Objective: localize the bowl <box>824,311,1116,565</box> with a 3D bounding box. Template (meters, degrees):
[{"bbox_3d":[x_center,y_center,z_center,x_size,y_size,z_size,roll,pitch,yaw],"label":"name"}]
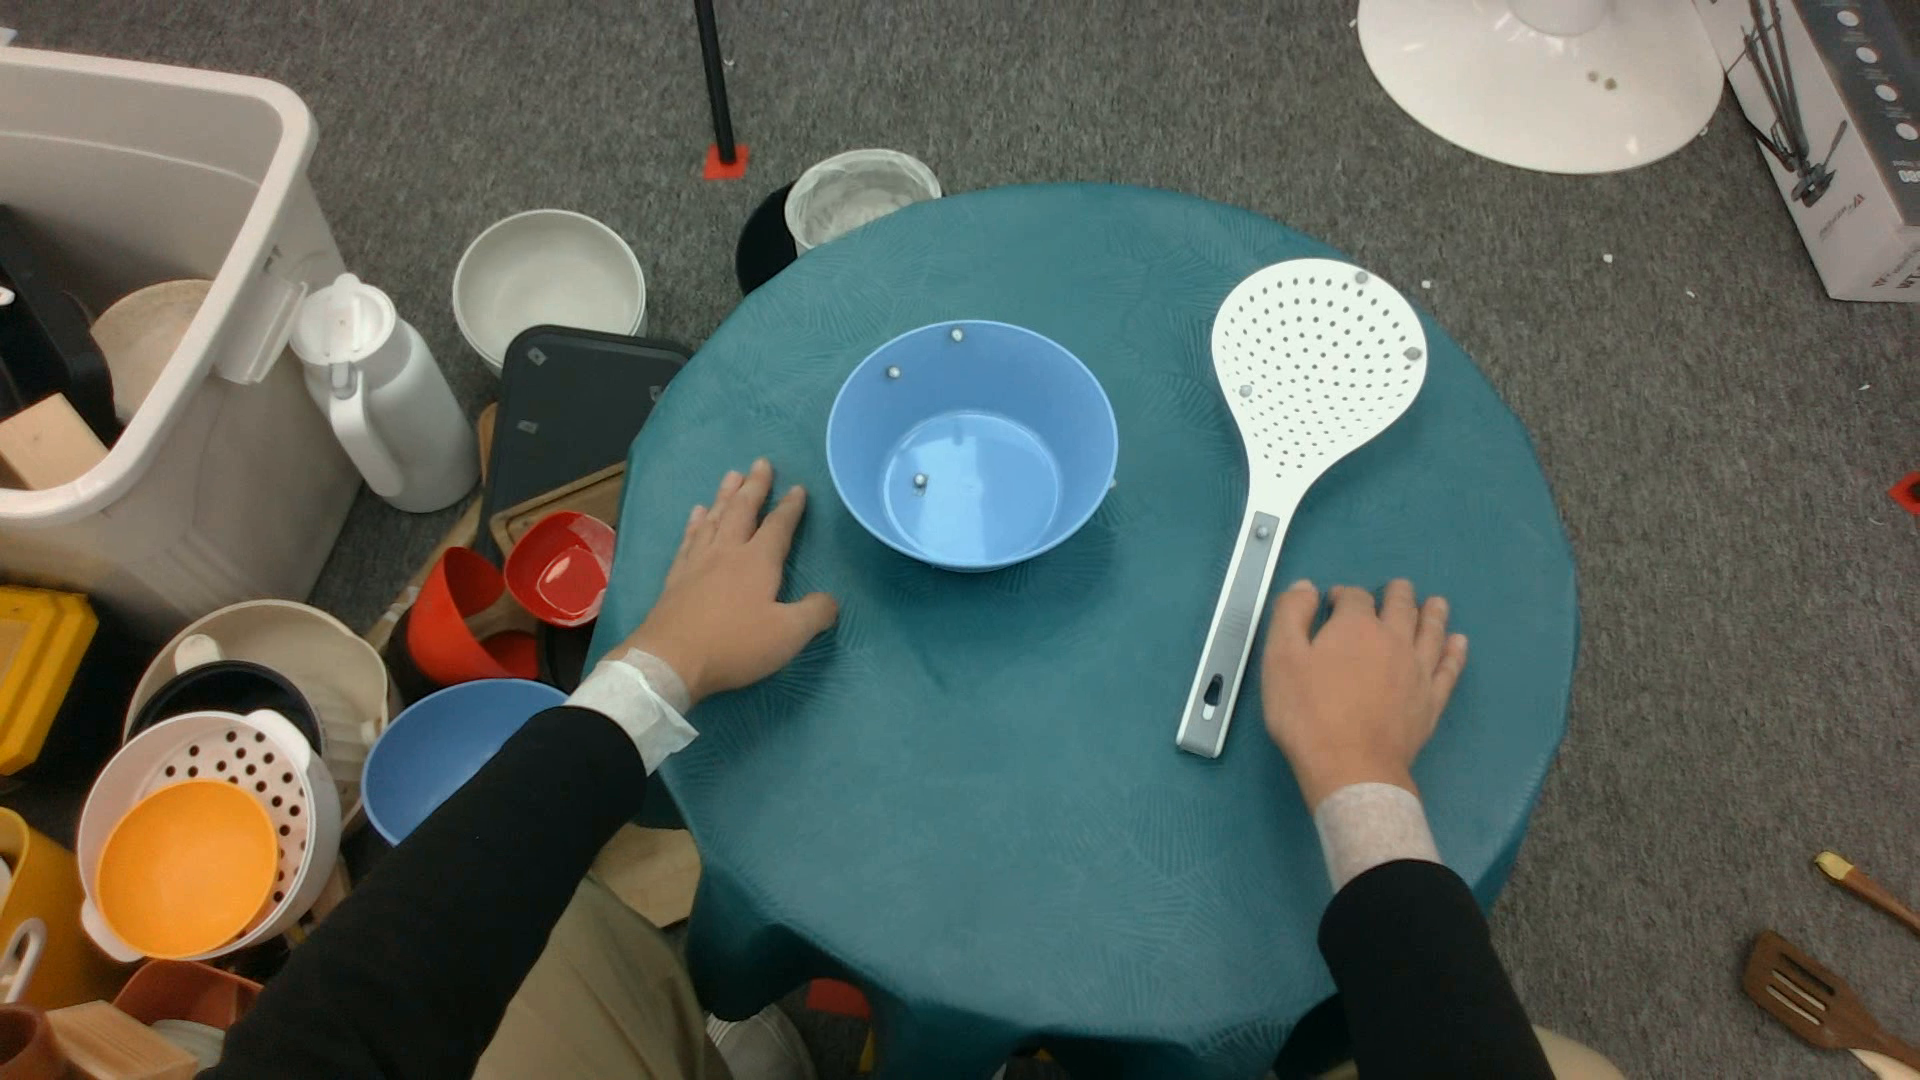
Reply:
[{"bbox_3d":[0.006,-0.051,0.852,0.176,0.070,0.177,0,62,-1],"label":"bowl"}]

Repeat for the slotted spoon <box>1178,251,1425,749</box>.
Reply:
[{"bbox_3d":[0.197,-0.034,0.860,0.136,0.045,0.351,18,64,8],"label":"slotted spoon"}]
